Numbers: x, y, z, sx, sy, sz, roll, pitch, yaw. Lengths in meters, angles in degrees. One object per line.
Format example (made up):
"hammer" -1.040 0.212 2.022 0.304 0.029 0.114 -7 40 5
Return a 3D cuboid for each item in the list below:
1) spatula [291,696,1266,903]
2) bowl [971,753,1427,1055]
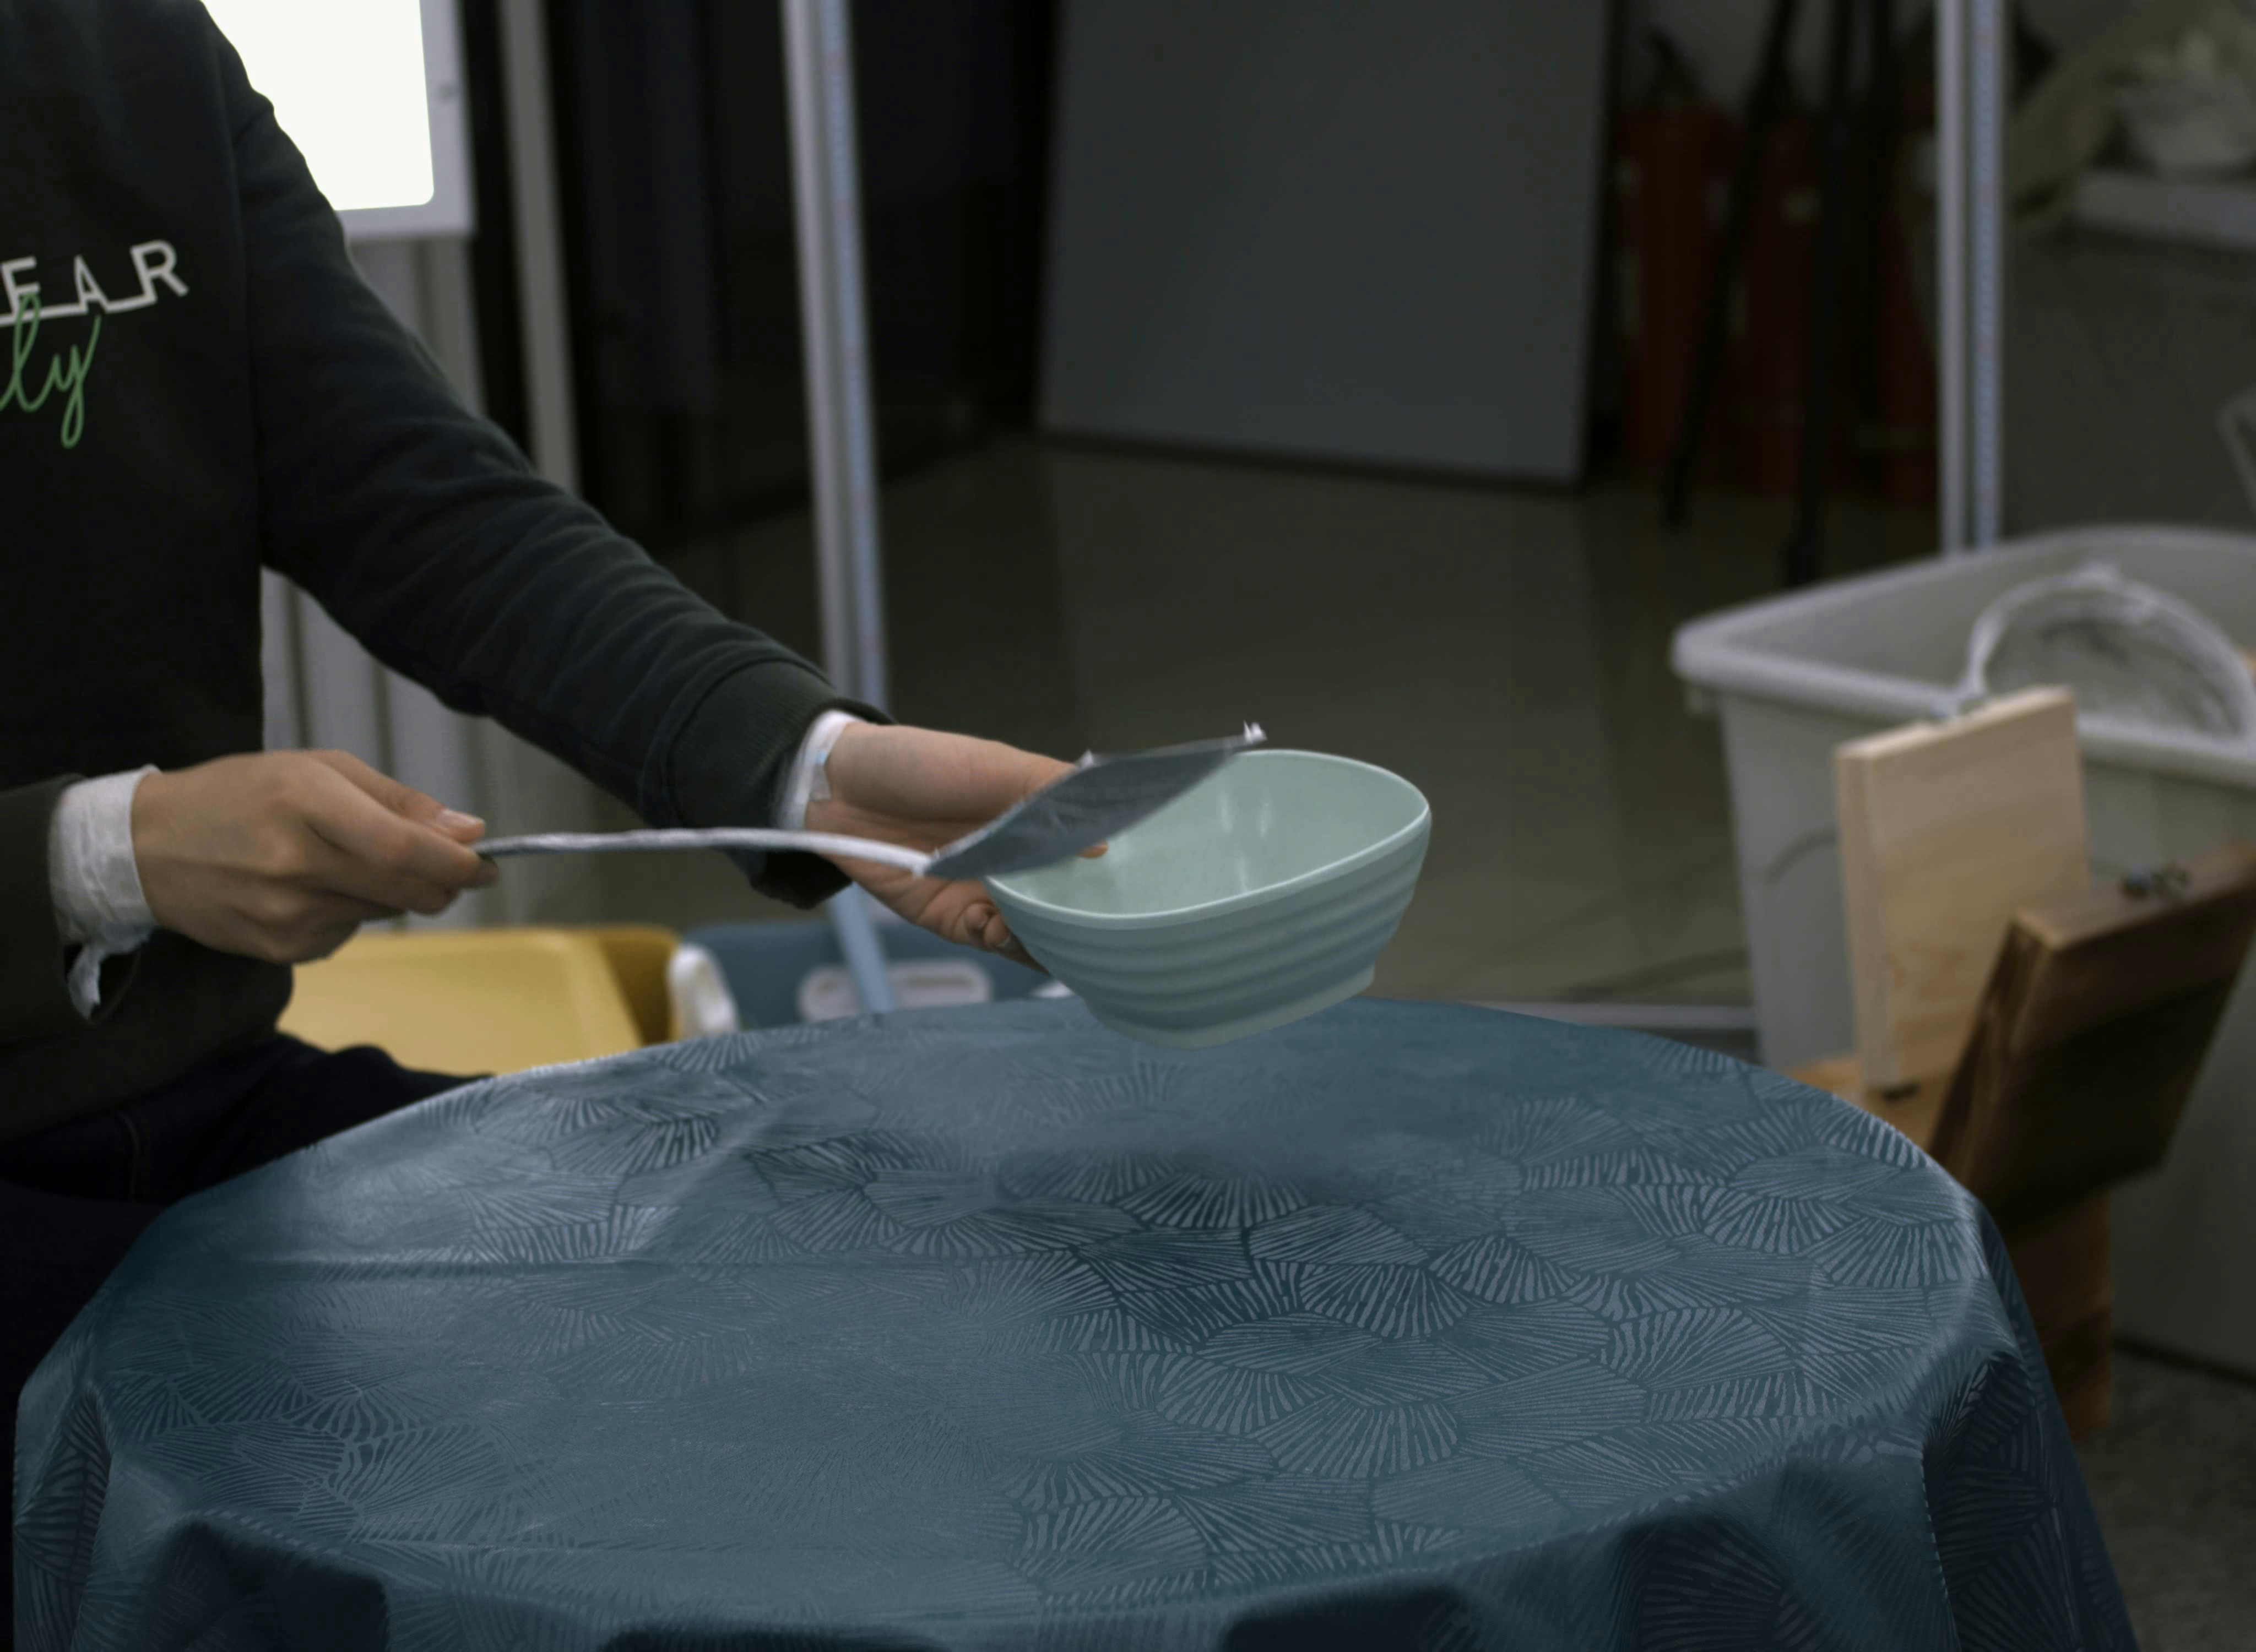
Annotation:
"spatula" -0.124 -0.005 1.639 0.367 0.045 0.097 -3 4 33
"bowl" 0.026 0.029 1.733 0.150 0.059 0.152 -8 18 2
